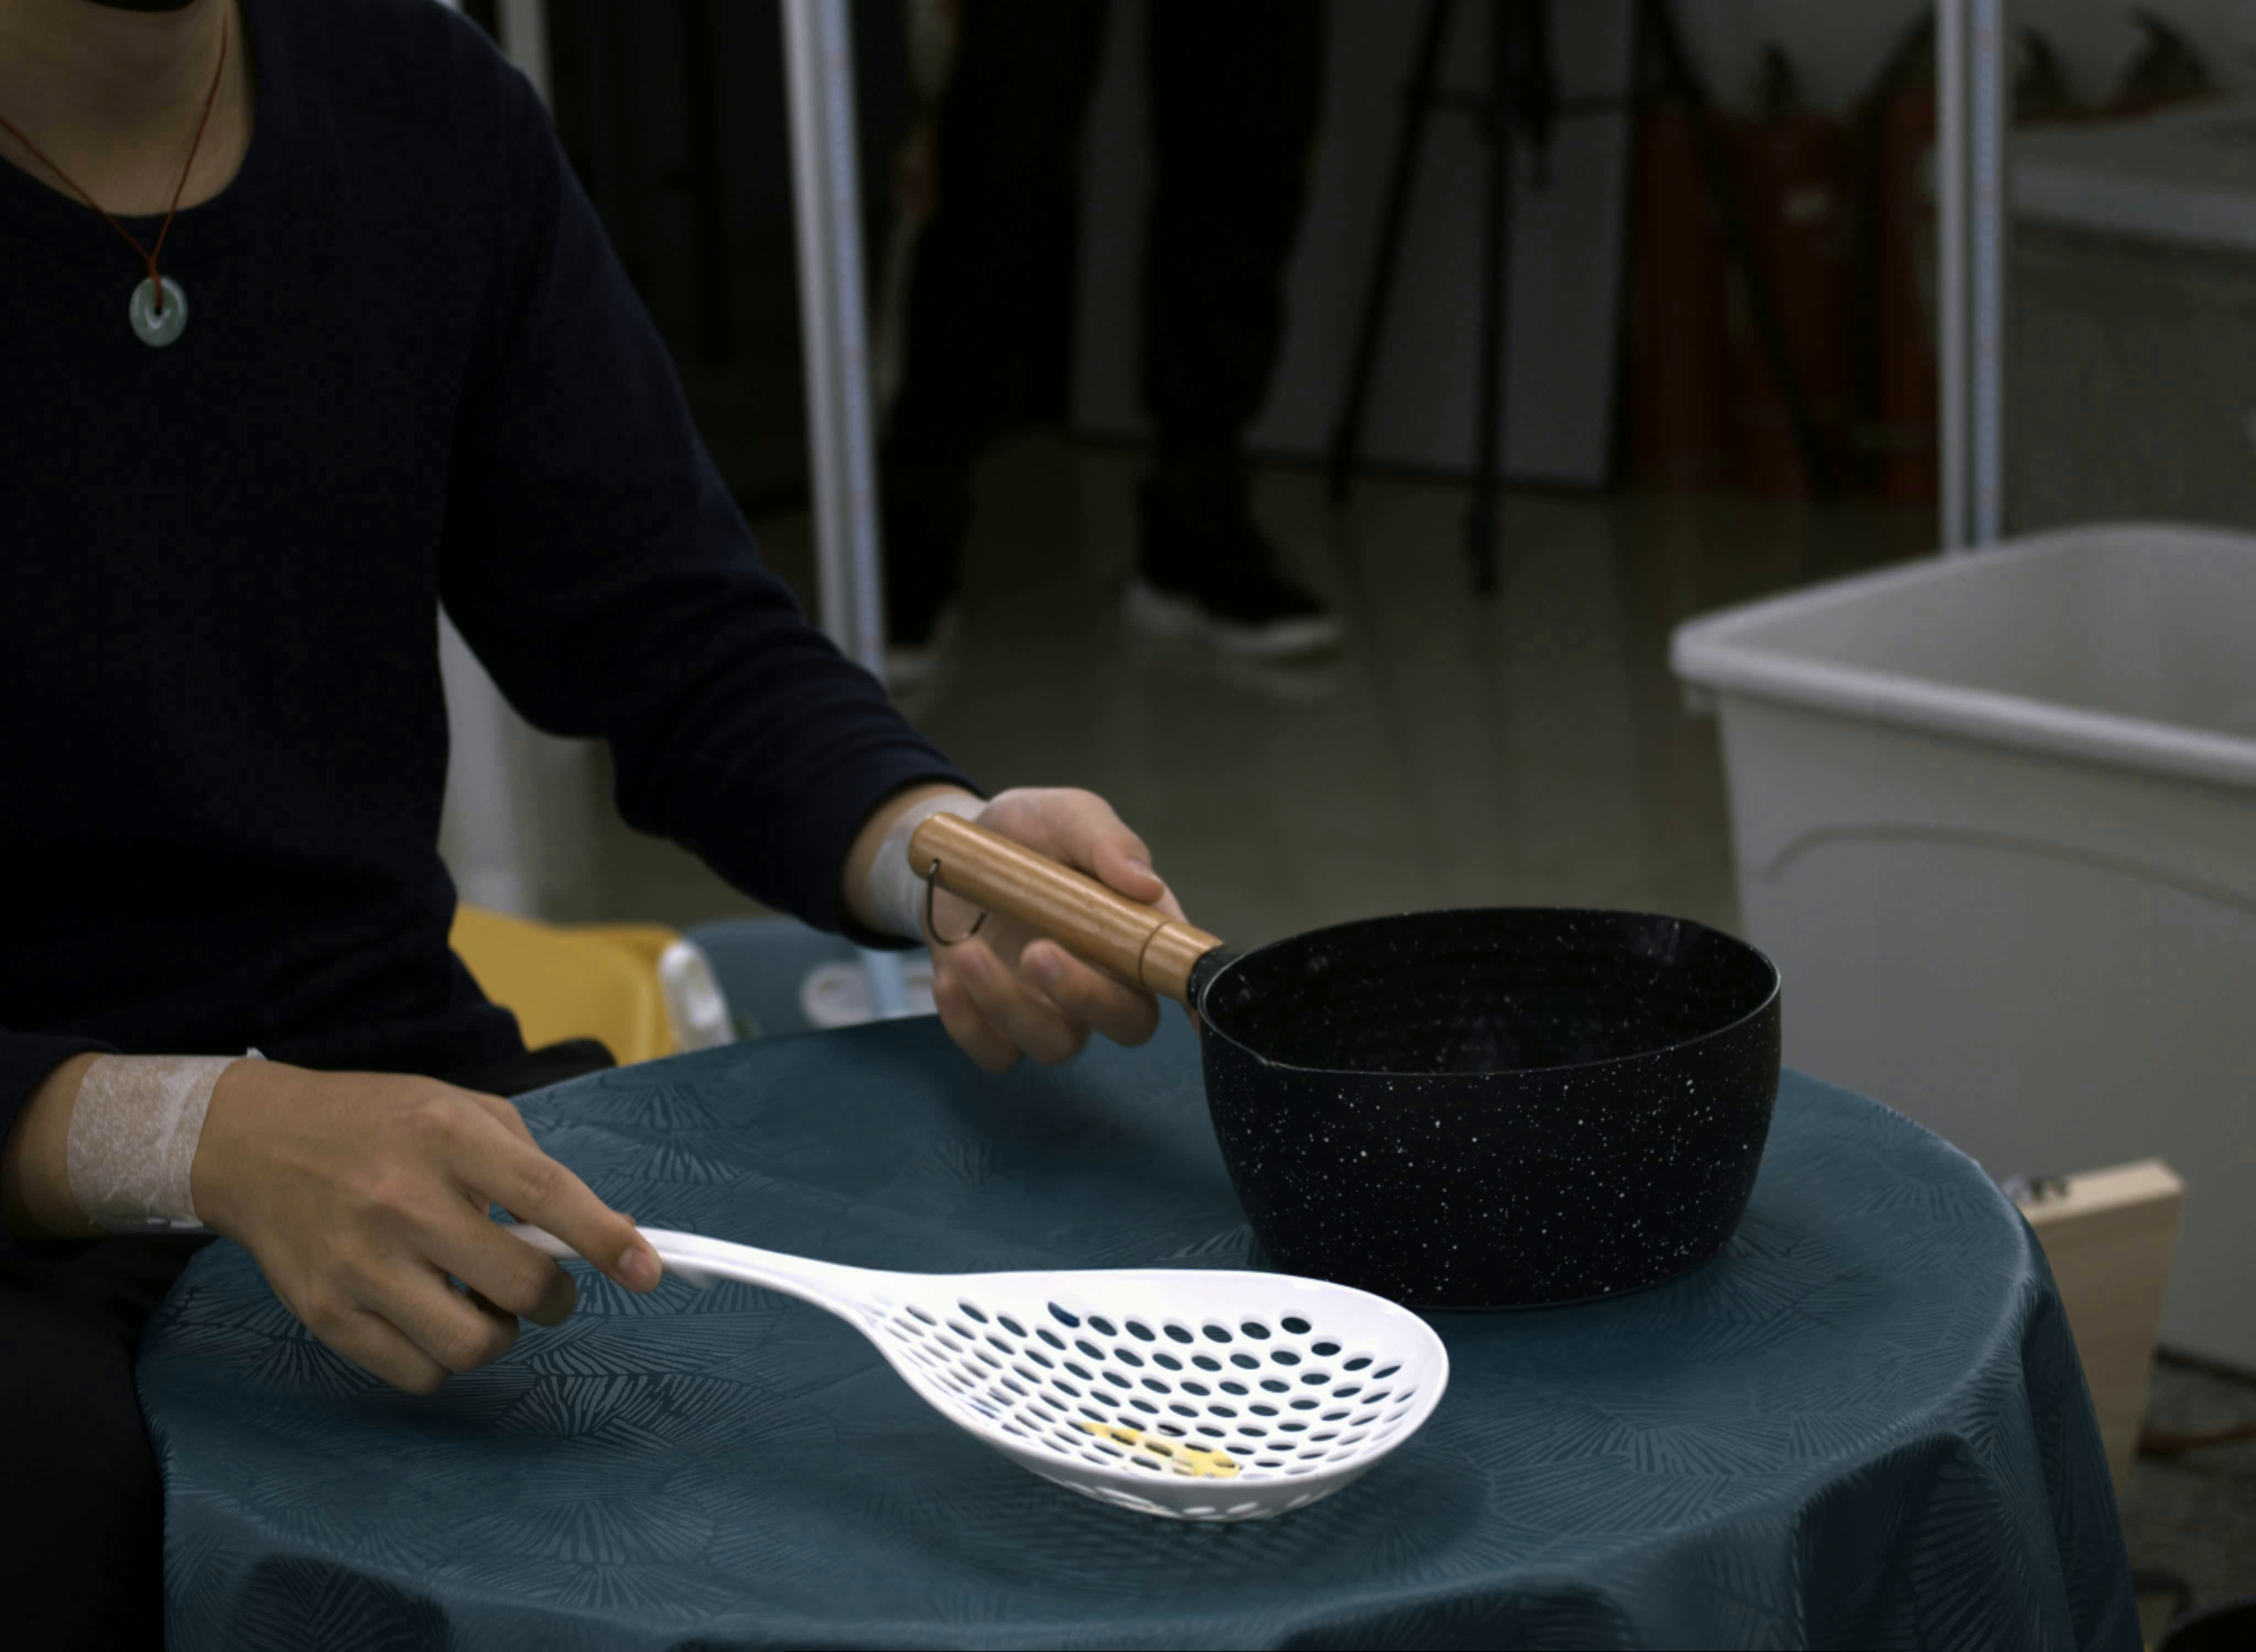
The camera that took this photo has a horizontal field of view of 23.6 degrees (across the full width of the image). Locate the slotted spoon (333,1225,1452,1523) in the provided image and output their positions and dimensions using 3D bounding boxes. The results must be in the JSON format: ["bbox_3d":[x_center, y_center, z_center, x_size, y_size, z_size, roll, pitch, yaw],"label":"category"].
[{"bbox_3d":[-0.075,0.142,1.543,0.348,0.051,0.135,14,26,24],"label":"slotted spoon"}]

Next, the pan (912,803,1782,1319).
[{"bbox_3d":[0.056,0.068,1.741,0.346,0.109,0.203,10,21,42],"label":"pan"}]
